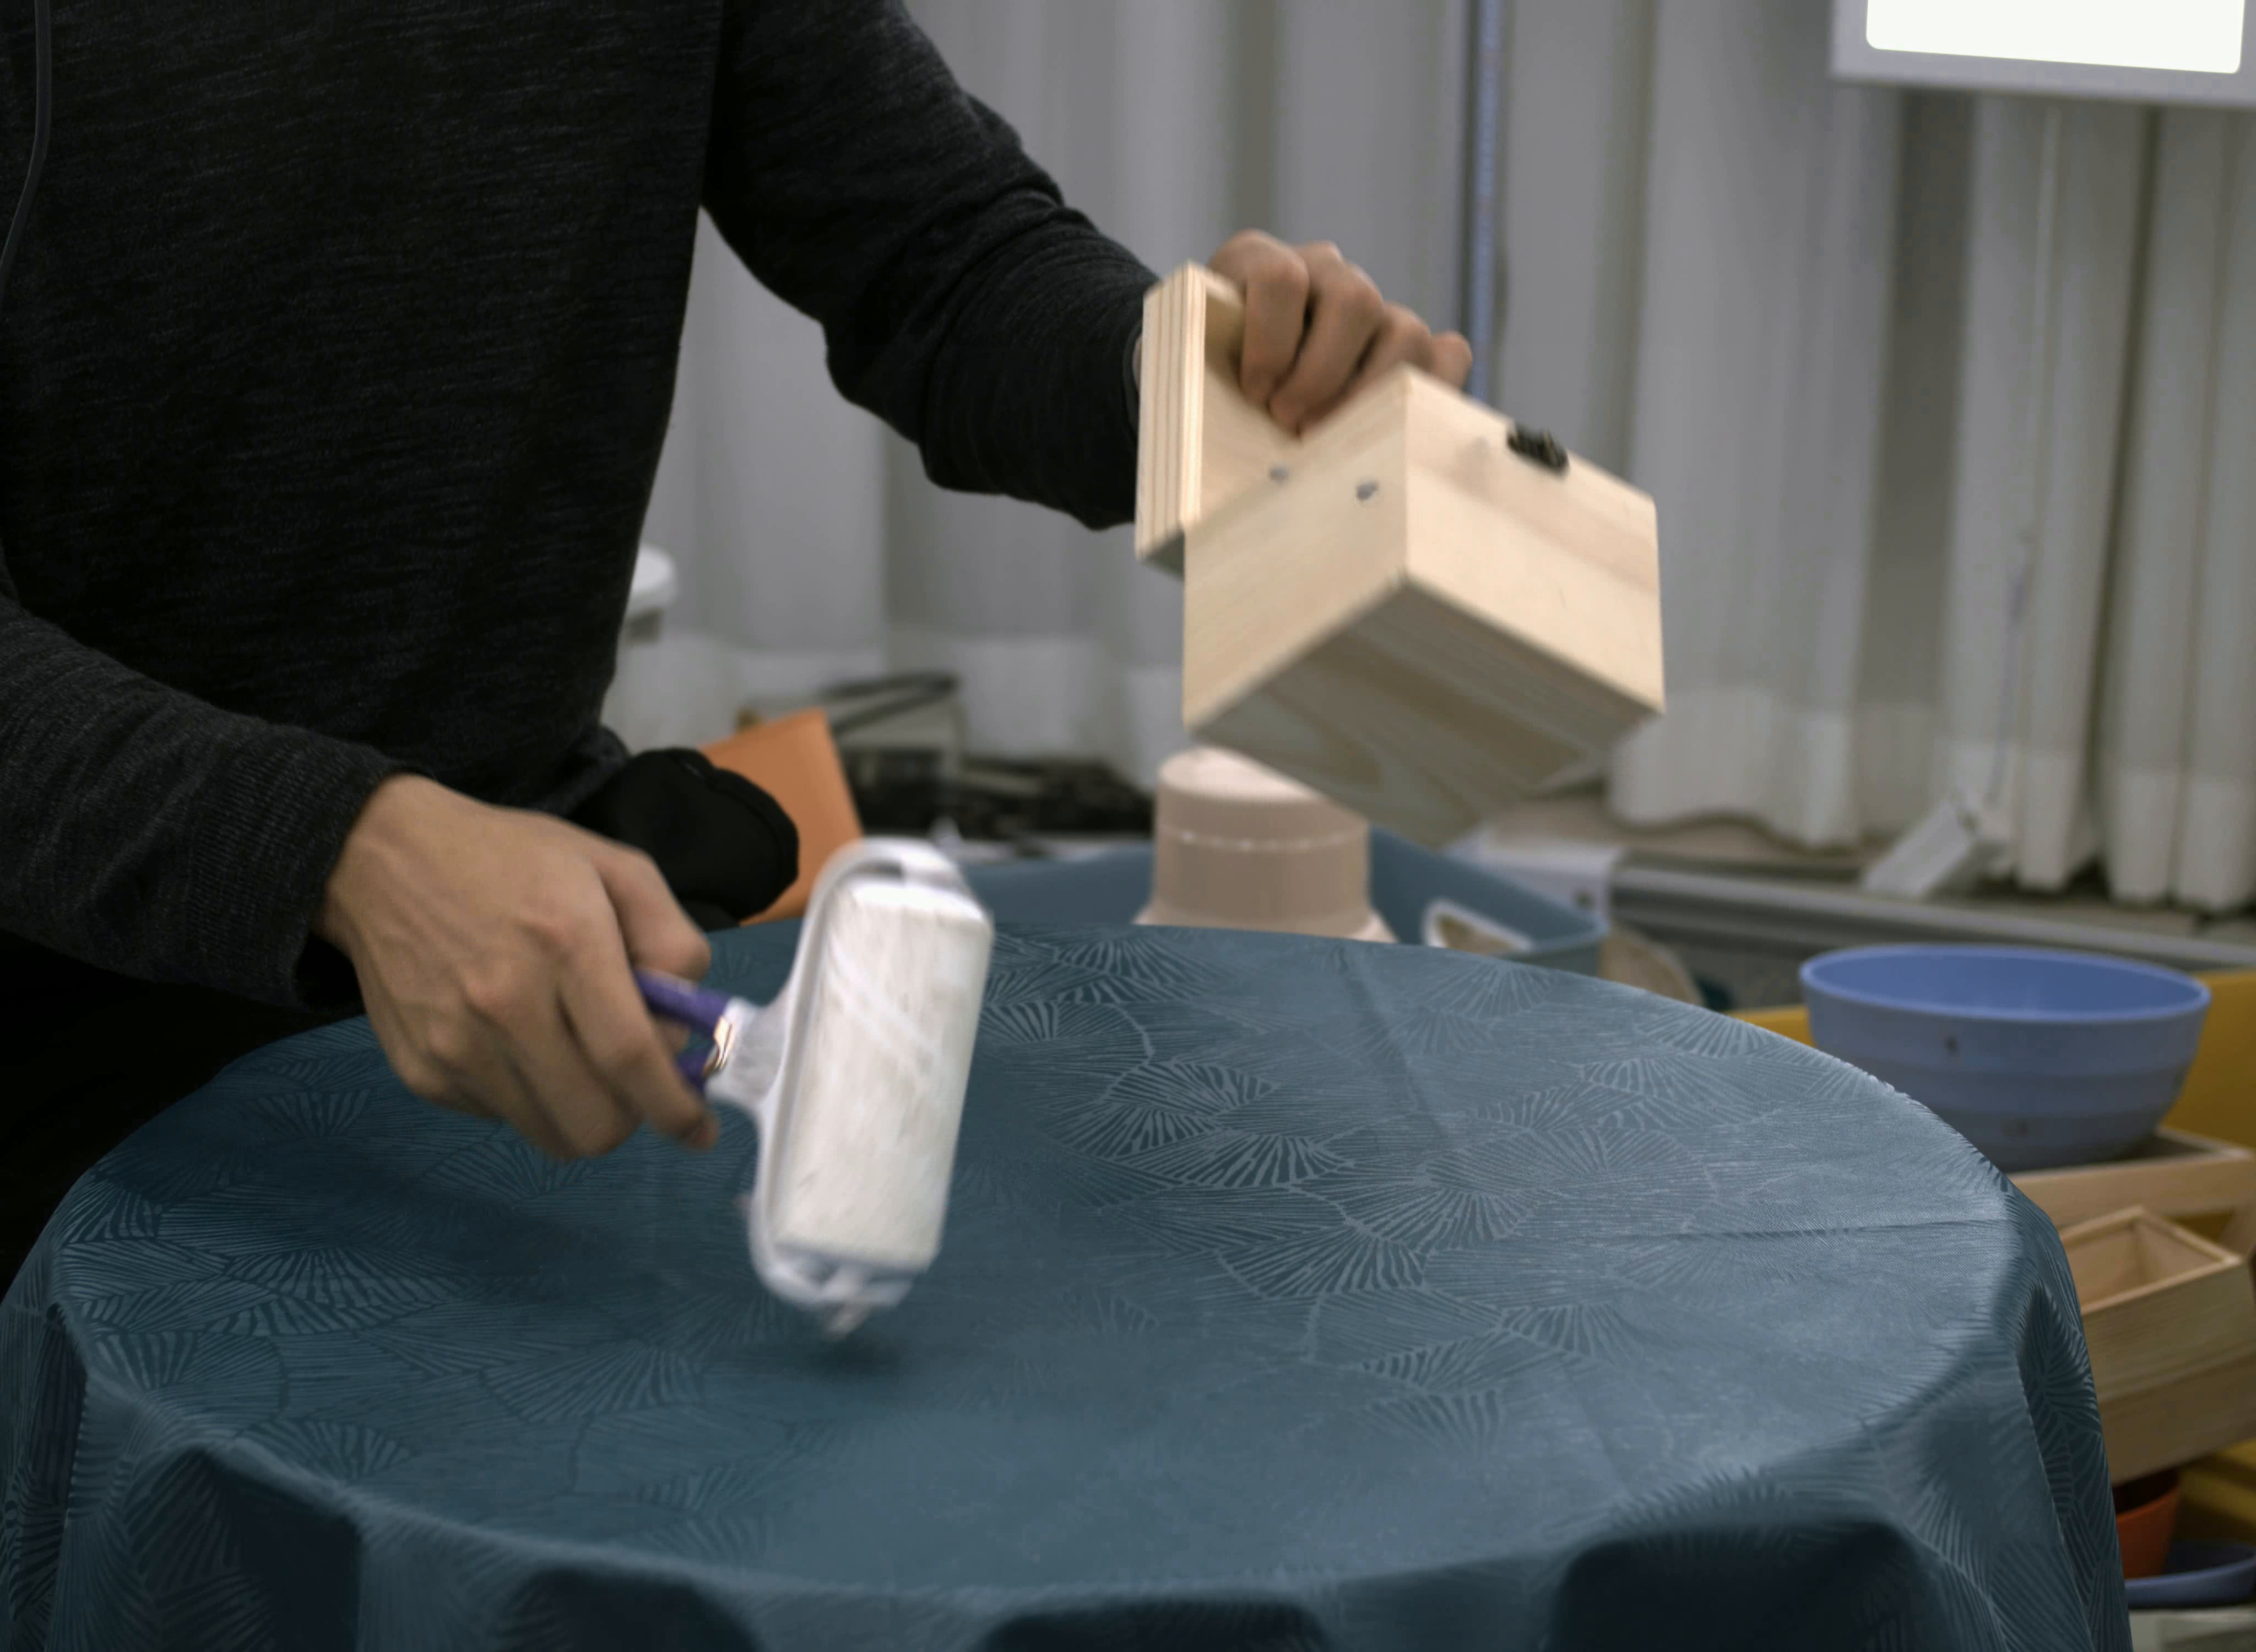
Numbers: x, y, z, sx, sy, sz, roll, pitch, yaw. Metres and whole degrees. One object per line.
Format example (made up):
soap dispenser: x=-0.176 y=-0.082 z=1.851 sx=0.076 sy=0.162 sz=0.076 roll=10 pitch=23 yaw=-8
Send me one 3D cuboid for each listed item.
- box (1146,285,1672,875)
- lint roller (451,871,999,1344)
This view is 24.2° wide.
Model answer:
box: x=0.084 y=-0.095 z=1.591 sx=0.103 sy=0.183 sz=0.133 roll=24 pitch=-40 yaw=-32
lint roller: x=-0.127 y=0.066 z=1.505 sx=0.179 sy=0.133 sz=0.050 roll=14 pitch=-7 yaw=26
